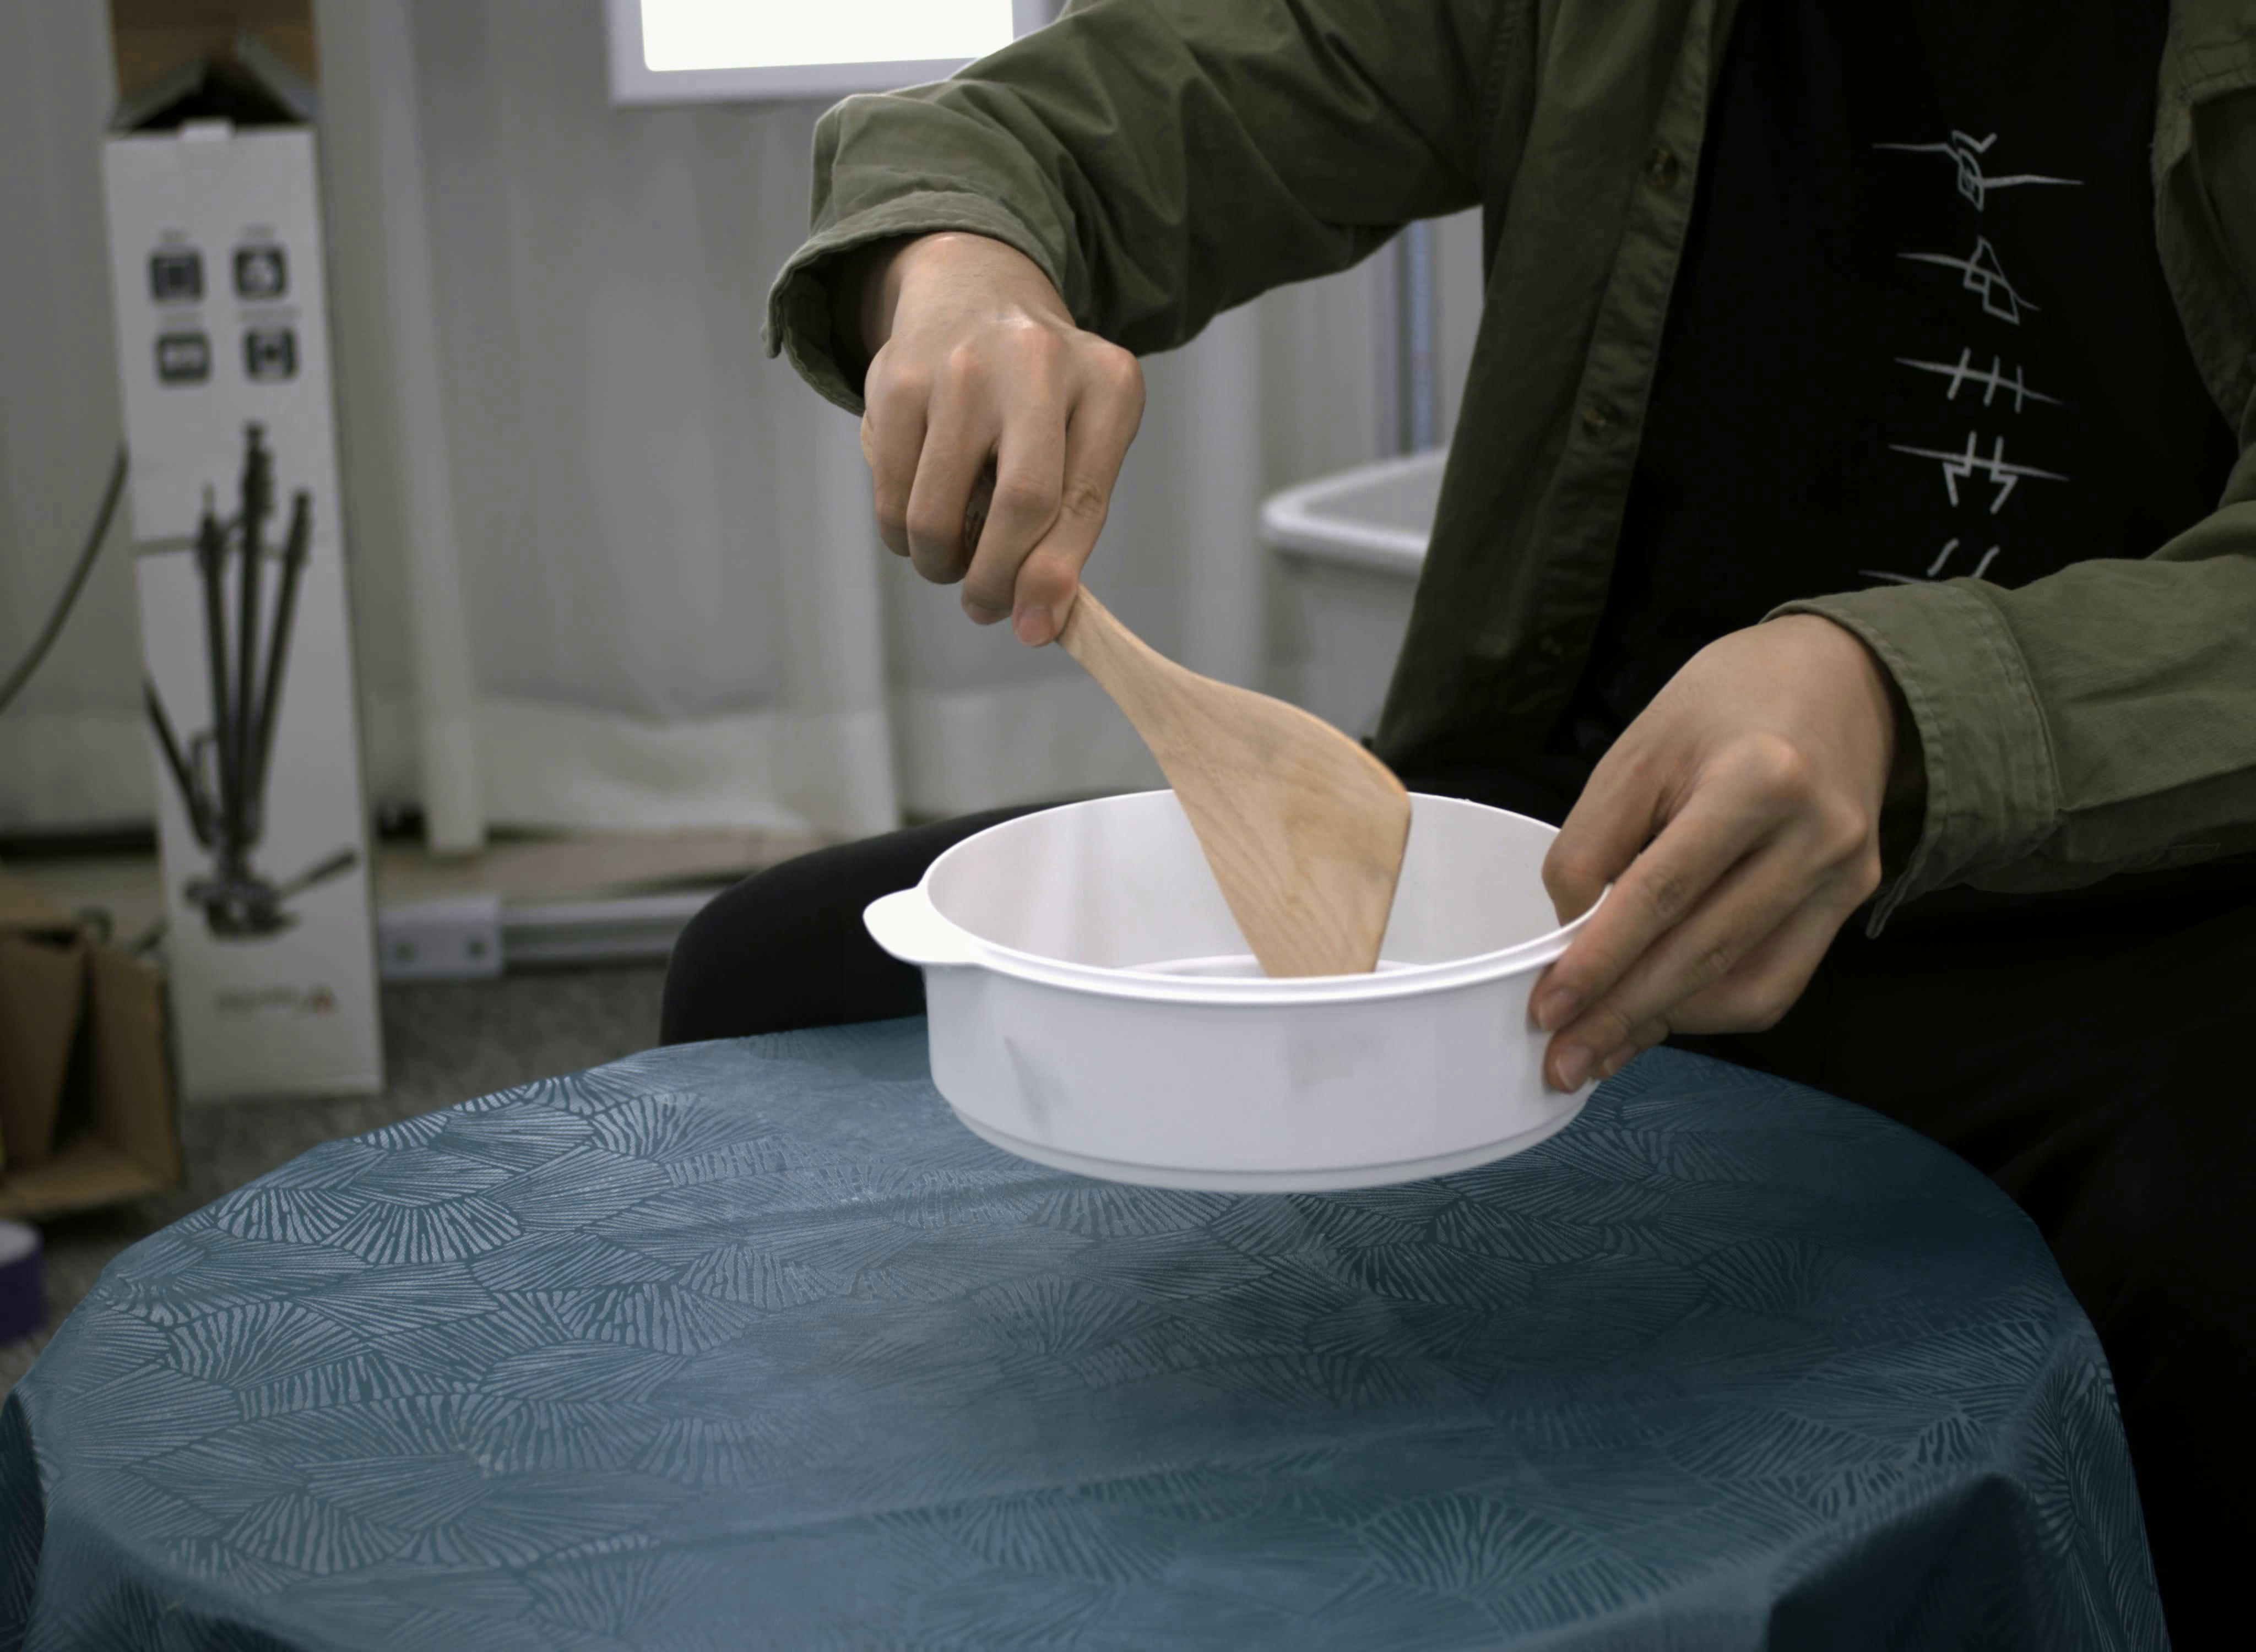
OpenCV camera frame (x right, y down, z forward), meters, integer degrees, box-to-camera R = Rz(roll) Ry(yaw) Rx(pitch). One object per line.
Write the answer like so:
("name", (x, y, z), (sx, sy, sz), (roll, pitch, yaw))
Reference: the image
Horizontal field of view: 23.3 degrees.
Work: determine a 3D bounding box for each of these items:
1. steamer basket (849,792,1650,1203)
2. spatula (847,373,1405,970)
("steamer basket", (0.035, 0.049, 1.562), (0.229, 0.069, 0.203), (-4, 16, -14))
("spatula", (-0.007, -0.056, 1.612), (0.016, 0.079, 0.332), (2, 28, -36))
